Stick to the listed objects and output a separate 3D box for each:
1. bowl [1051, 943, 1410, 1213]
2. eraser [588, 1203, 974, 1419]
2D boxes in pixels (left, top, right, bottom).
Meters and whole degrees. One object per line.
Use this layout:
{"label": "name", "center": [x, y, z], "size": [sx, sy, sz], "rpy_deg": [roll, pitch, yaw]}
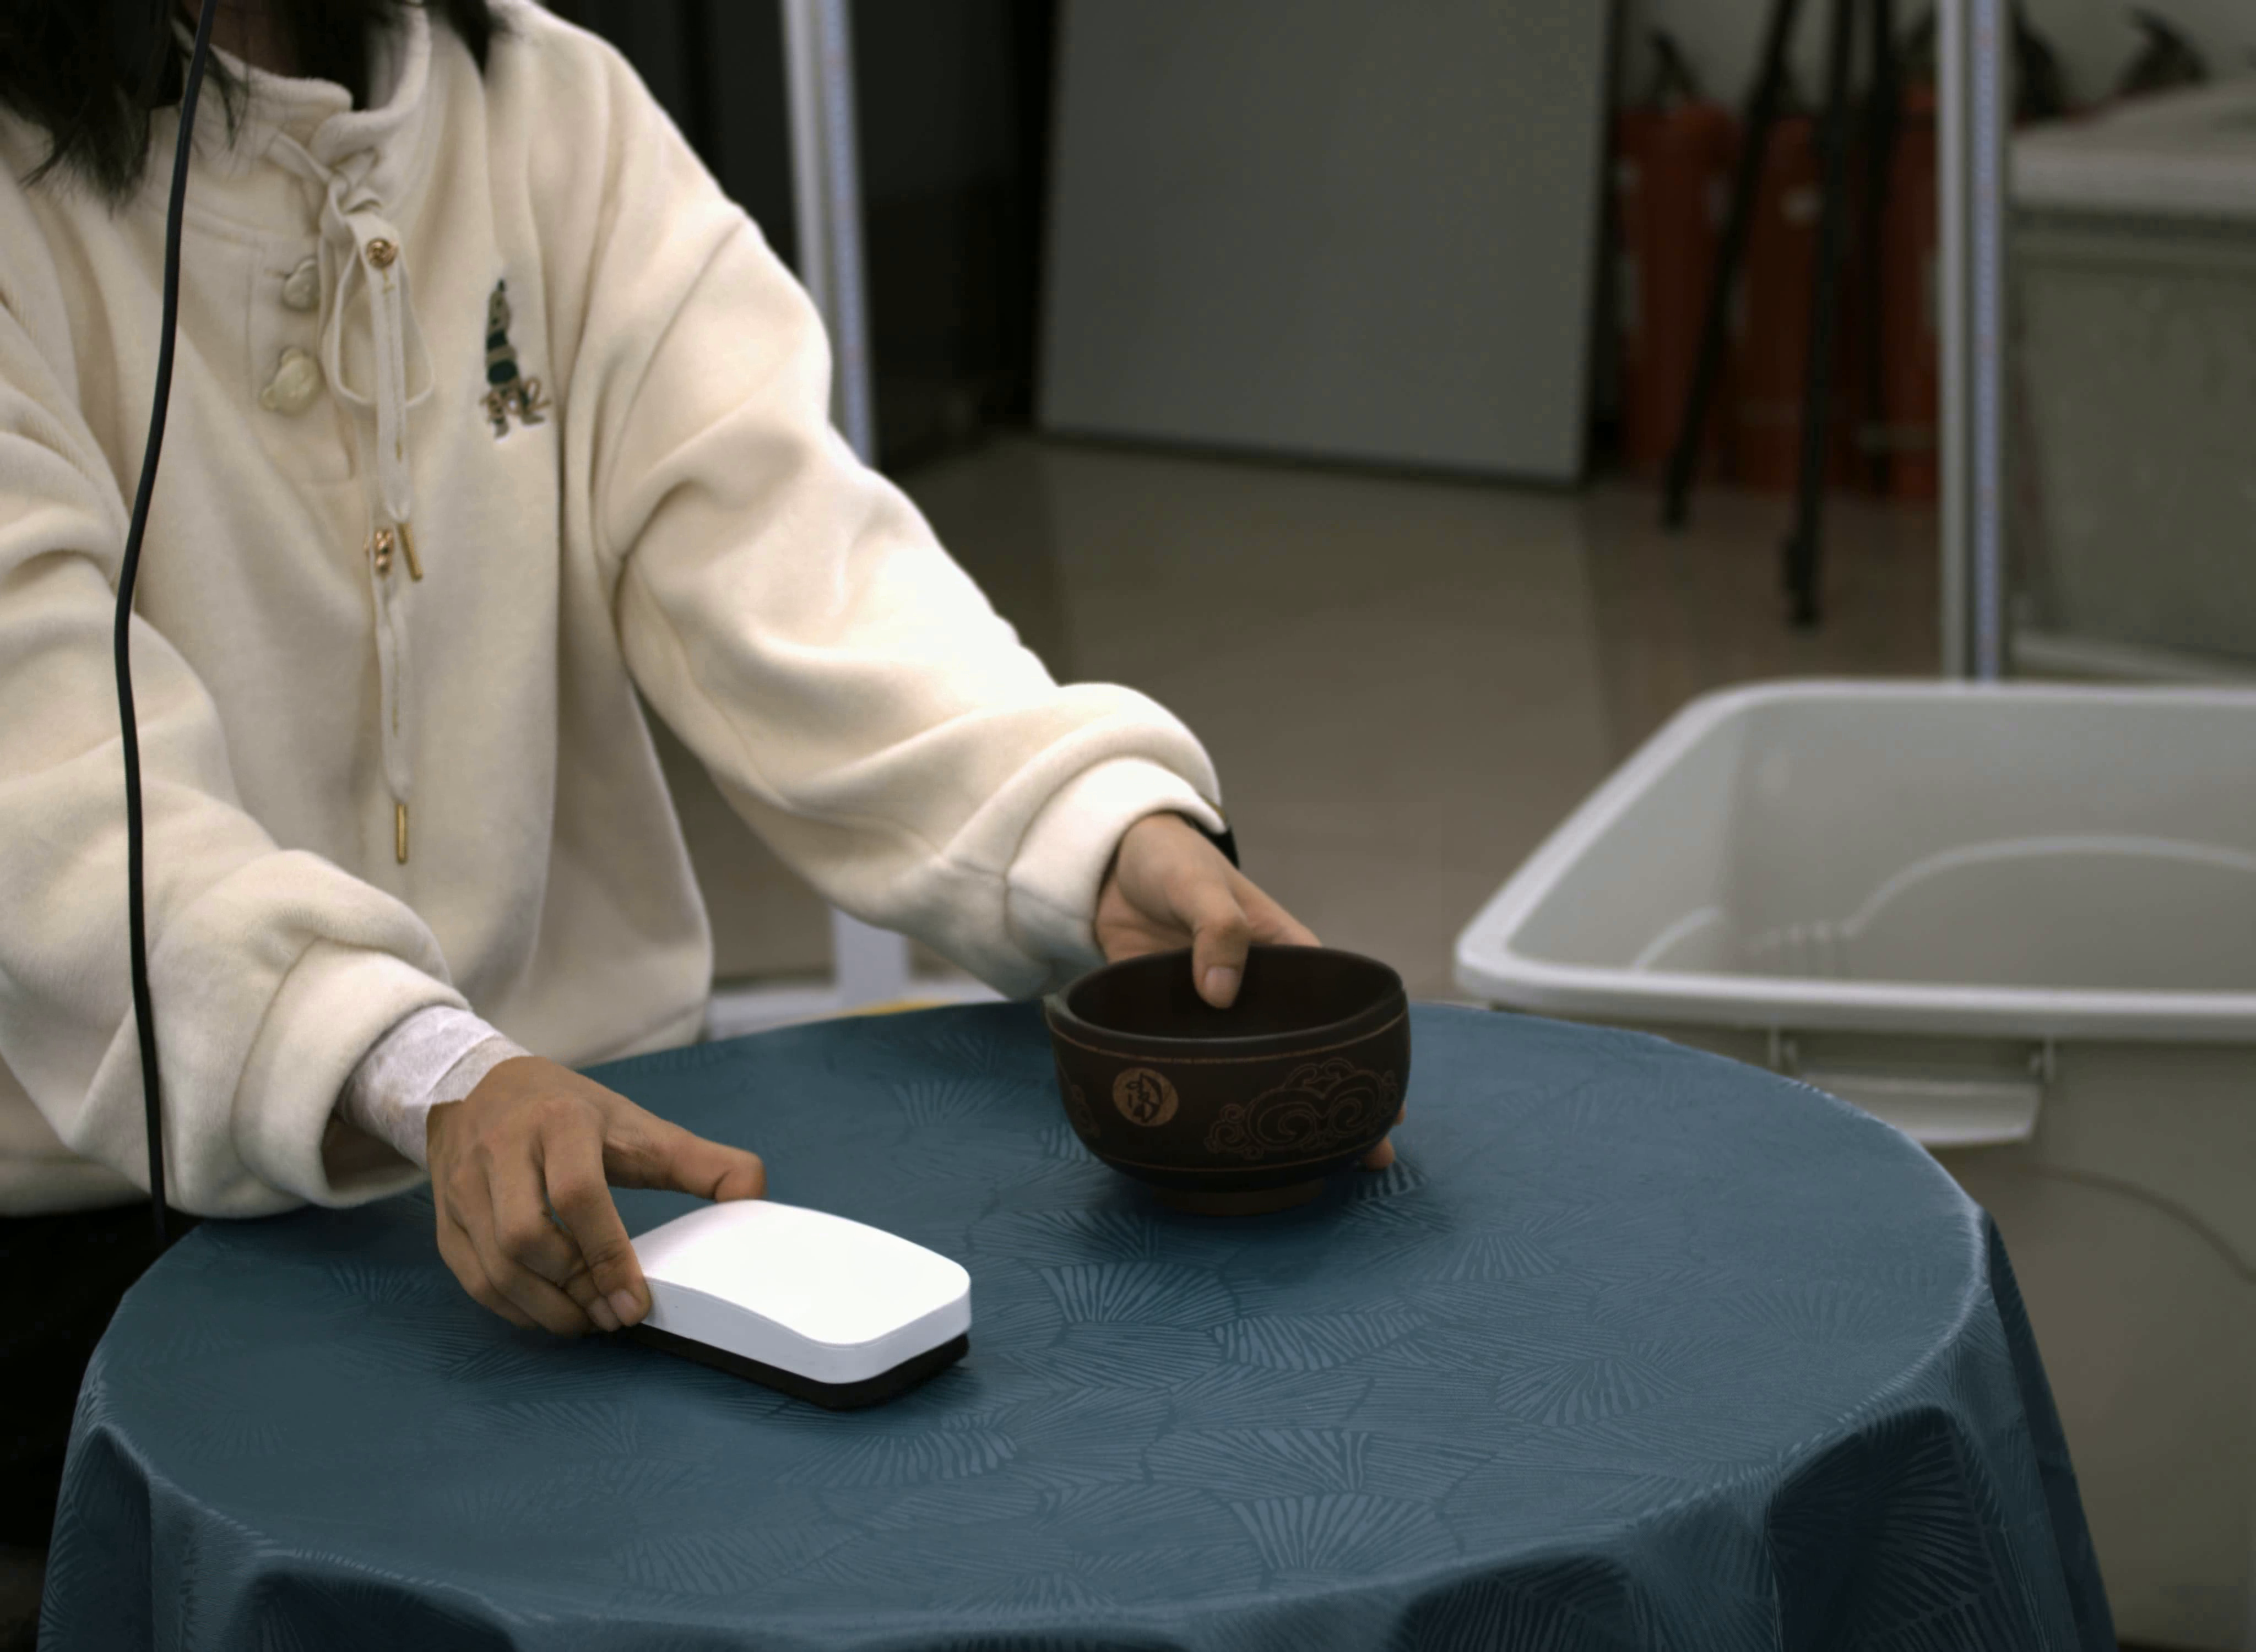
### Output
{"label": "bowl", "center": [0.034, 0.085, 1.755], "size": [0.116, 0.070, 0.118], "rpy_deg": [-3, 11, 0]}
{"label": "eraser", "center": [-0.104, 0.144, 1.636], "size": [0.062, 0.035, 0.132], "rpy_deg": [-21, 22, -39]}
